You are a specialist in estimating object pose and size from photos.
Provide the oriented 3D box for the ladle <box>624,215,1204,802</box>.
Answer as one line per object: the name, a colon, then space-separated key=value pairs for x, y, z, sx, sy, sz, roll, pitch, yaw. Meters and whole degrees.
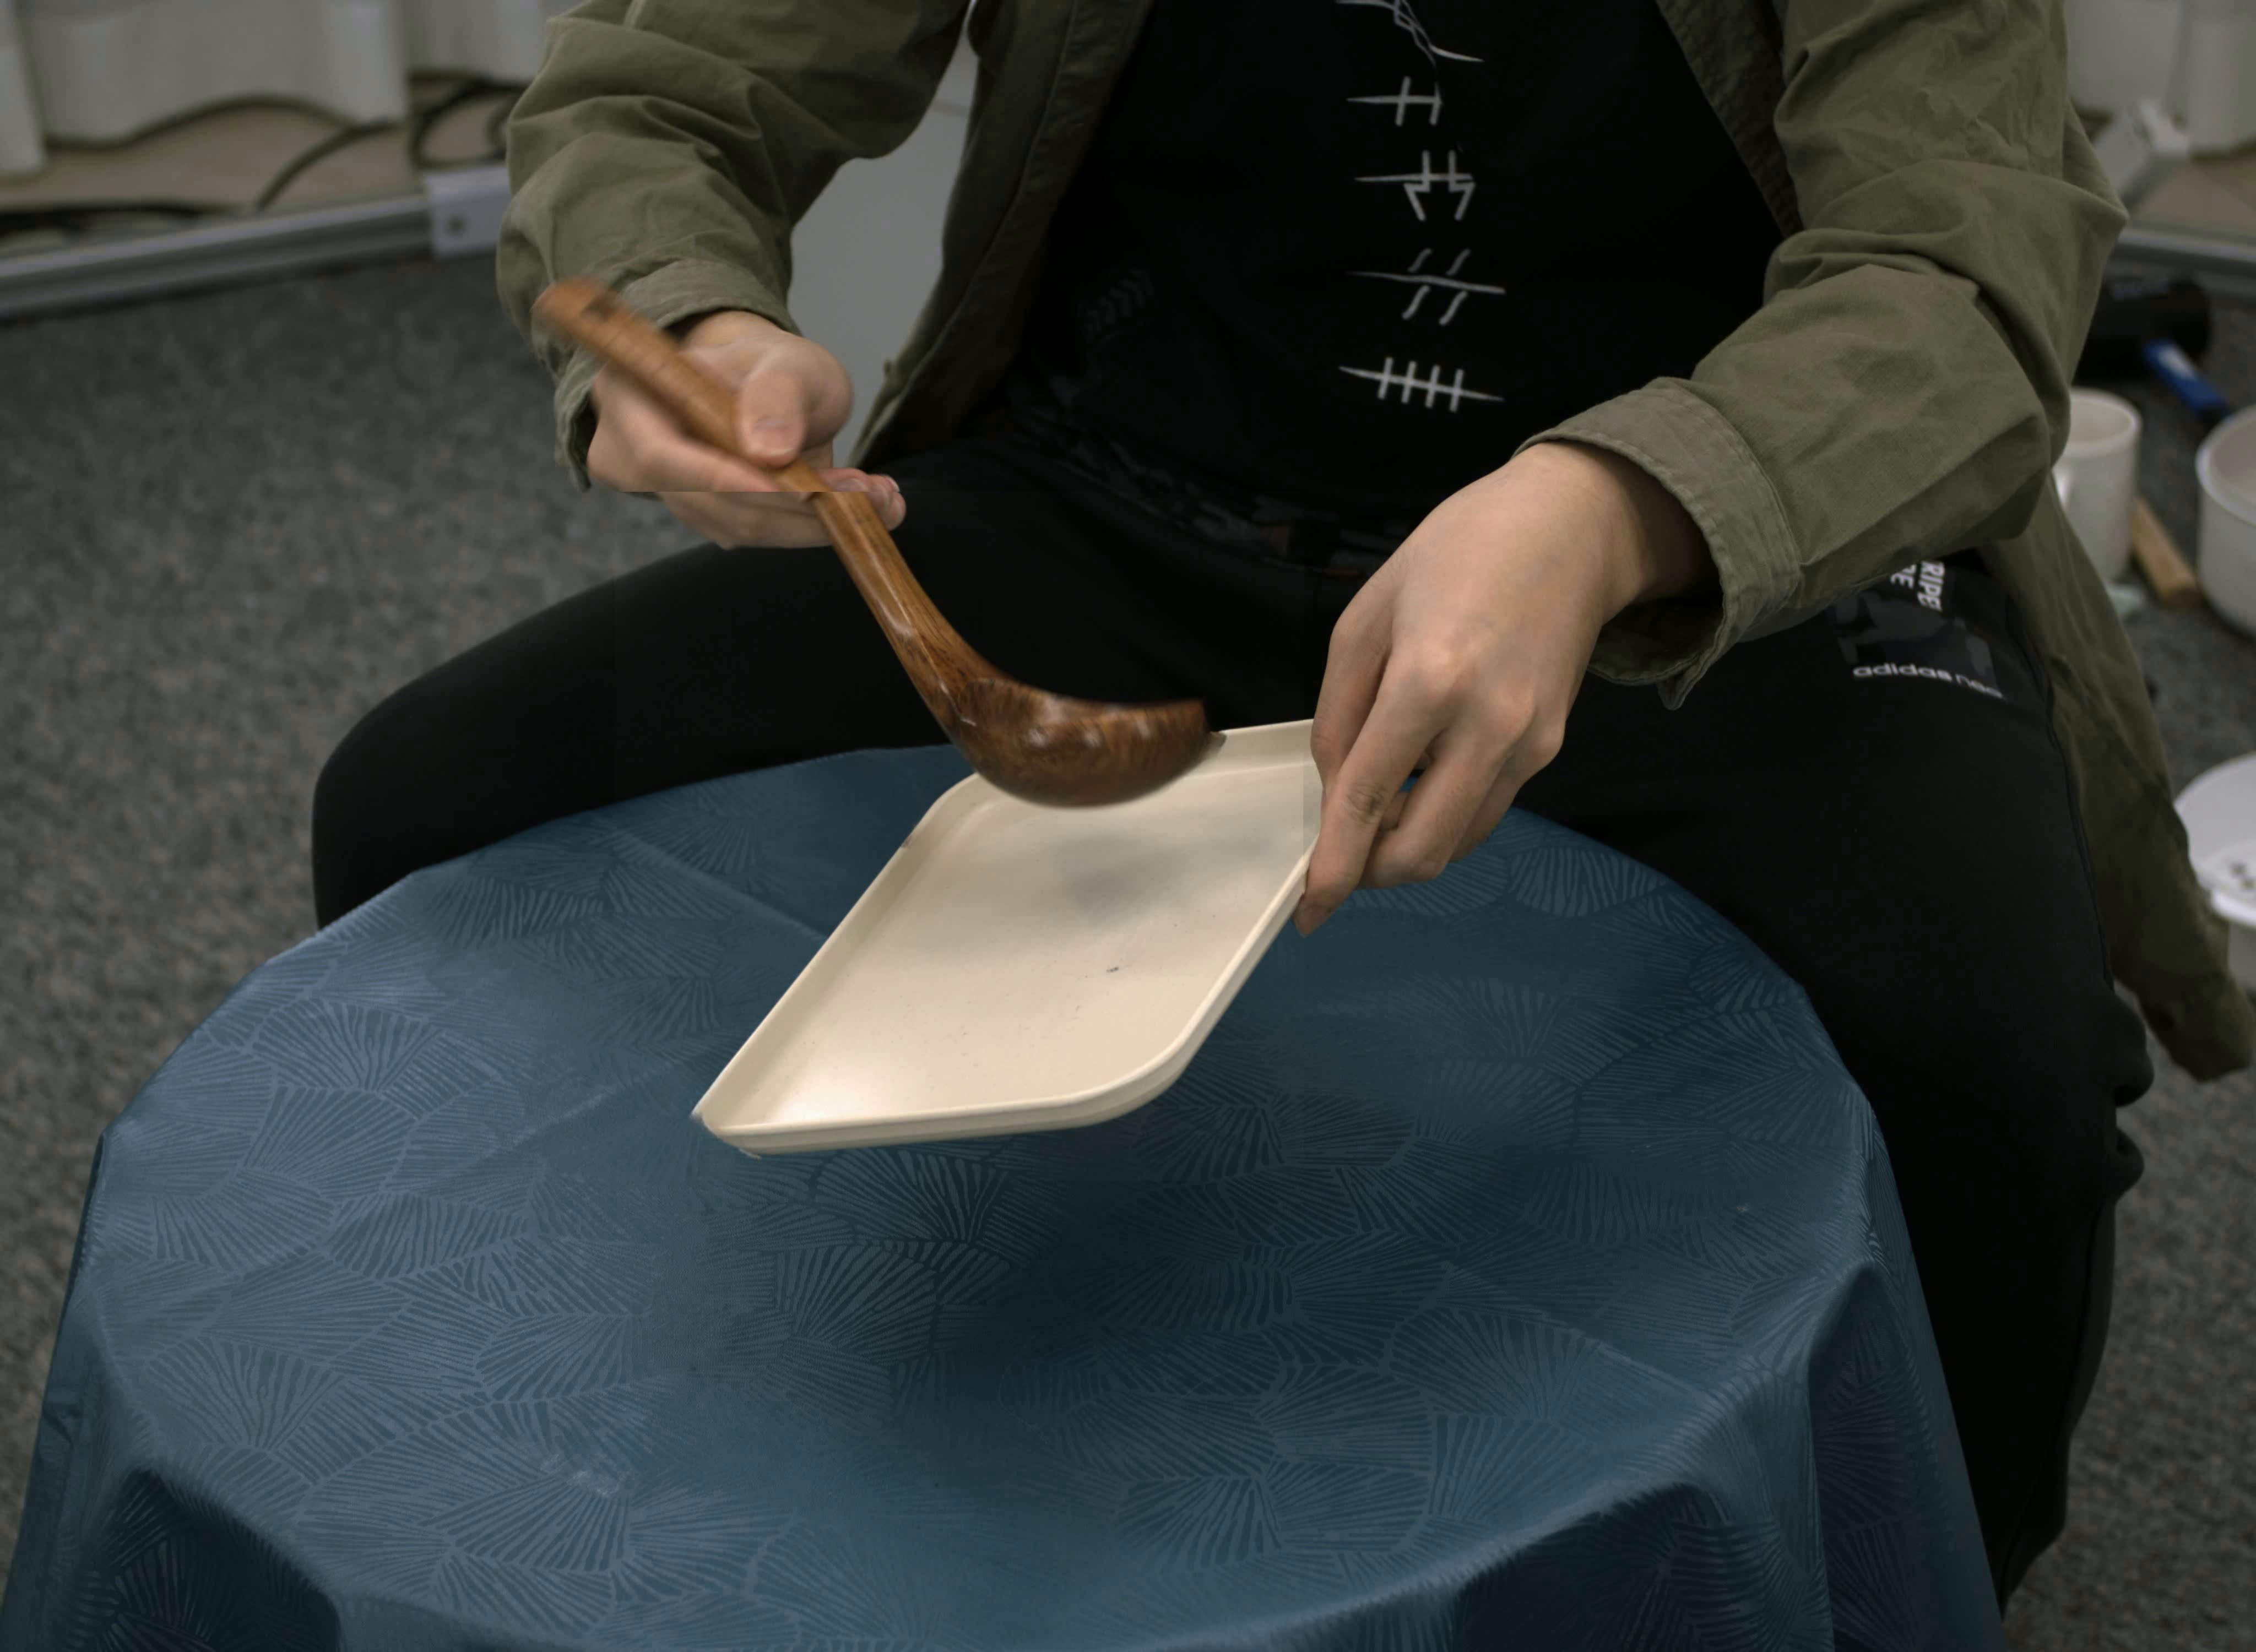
ladle: x=-0.072 y=-0.114 z=1.834 sx=0.276 sy=0.076 sz=0.082 roll=57 pitch=22 yaw=20

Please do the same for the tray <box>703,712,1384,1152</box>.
tray: x=-0.023 y=0.034 z=1.794 sx=0.169 sy=0.017 sz=0.244 roll=-7 pitch=26 yaw=28
